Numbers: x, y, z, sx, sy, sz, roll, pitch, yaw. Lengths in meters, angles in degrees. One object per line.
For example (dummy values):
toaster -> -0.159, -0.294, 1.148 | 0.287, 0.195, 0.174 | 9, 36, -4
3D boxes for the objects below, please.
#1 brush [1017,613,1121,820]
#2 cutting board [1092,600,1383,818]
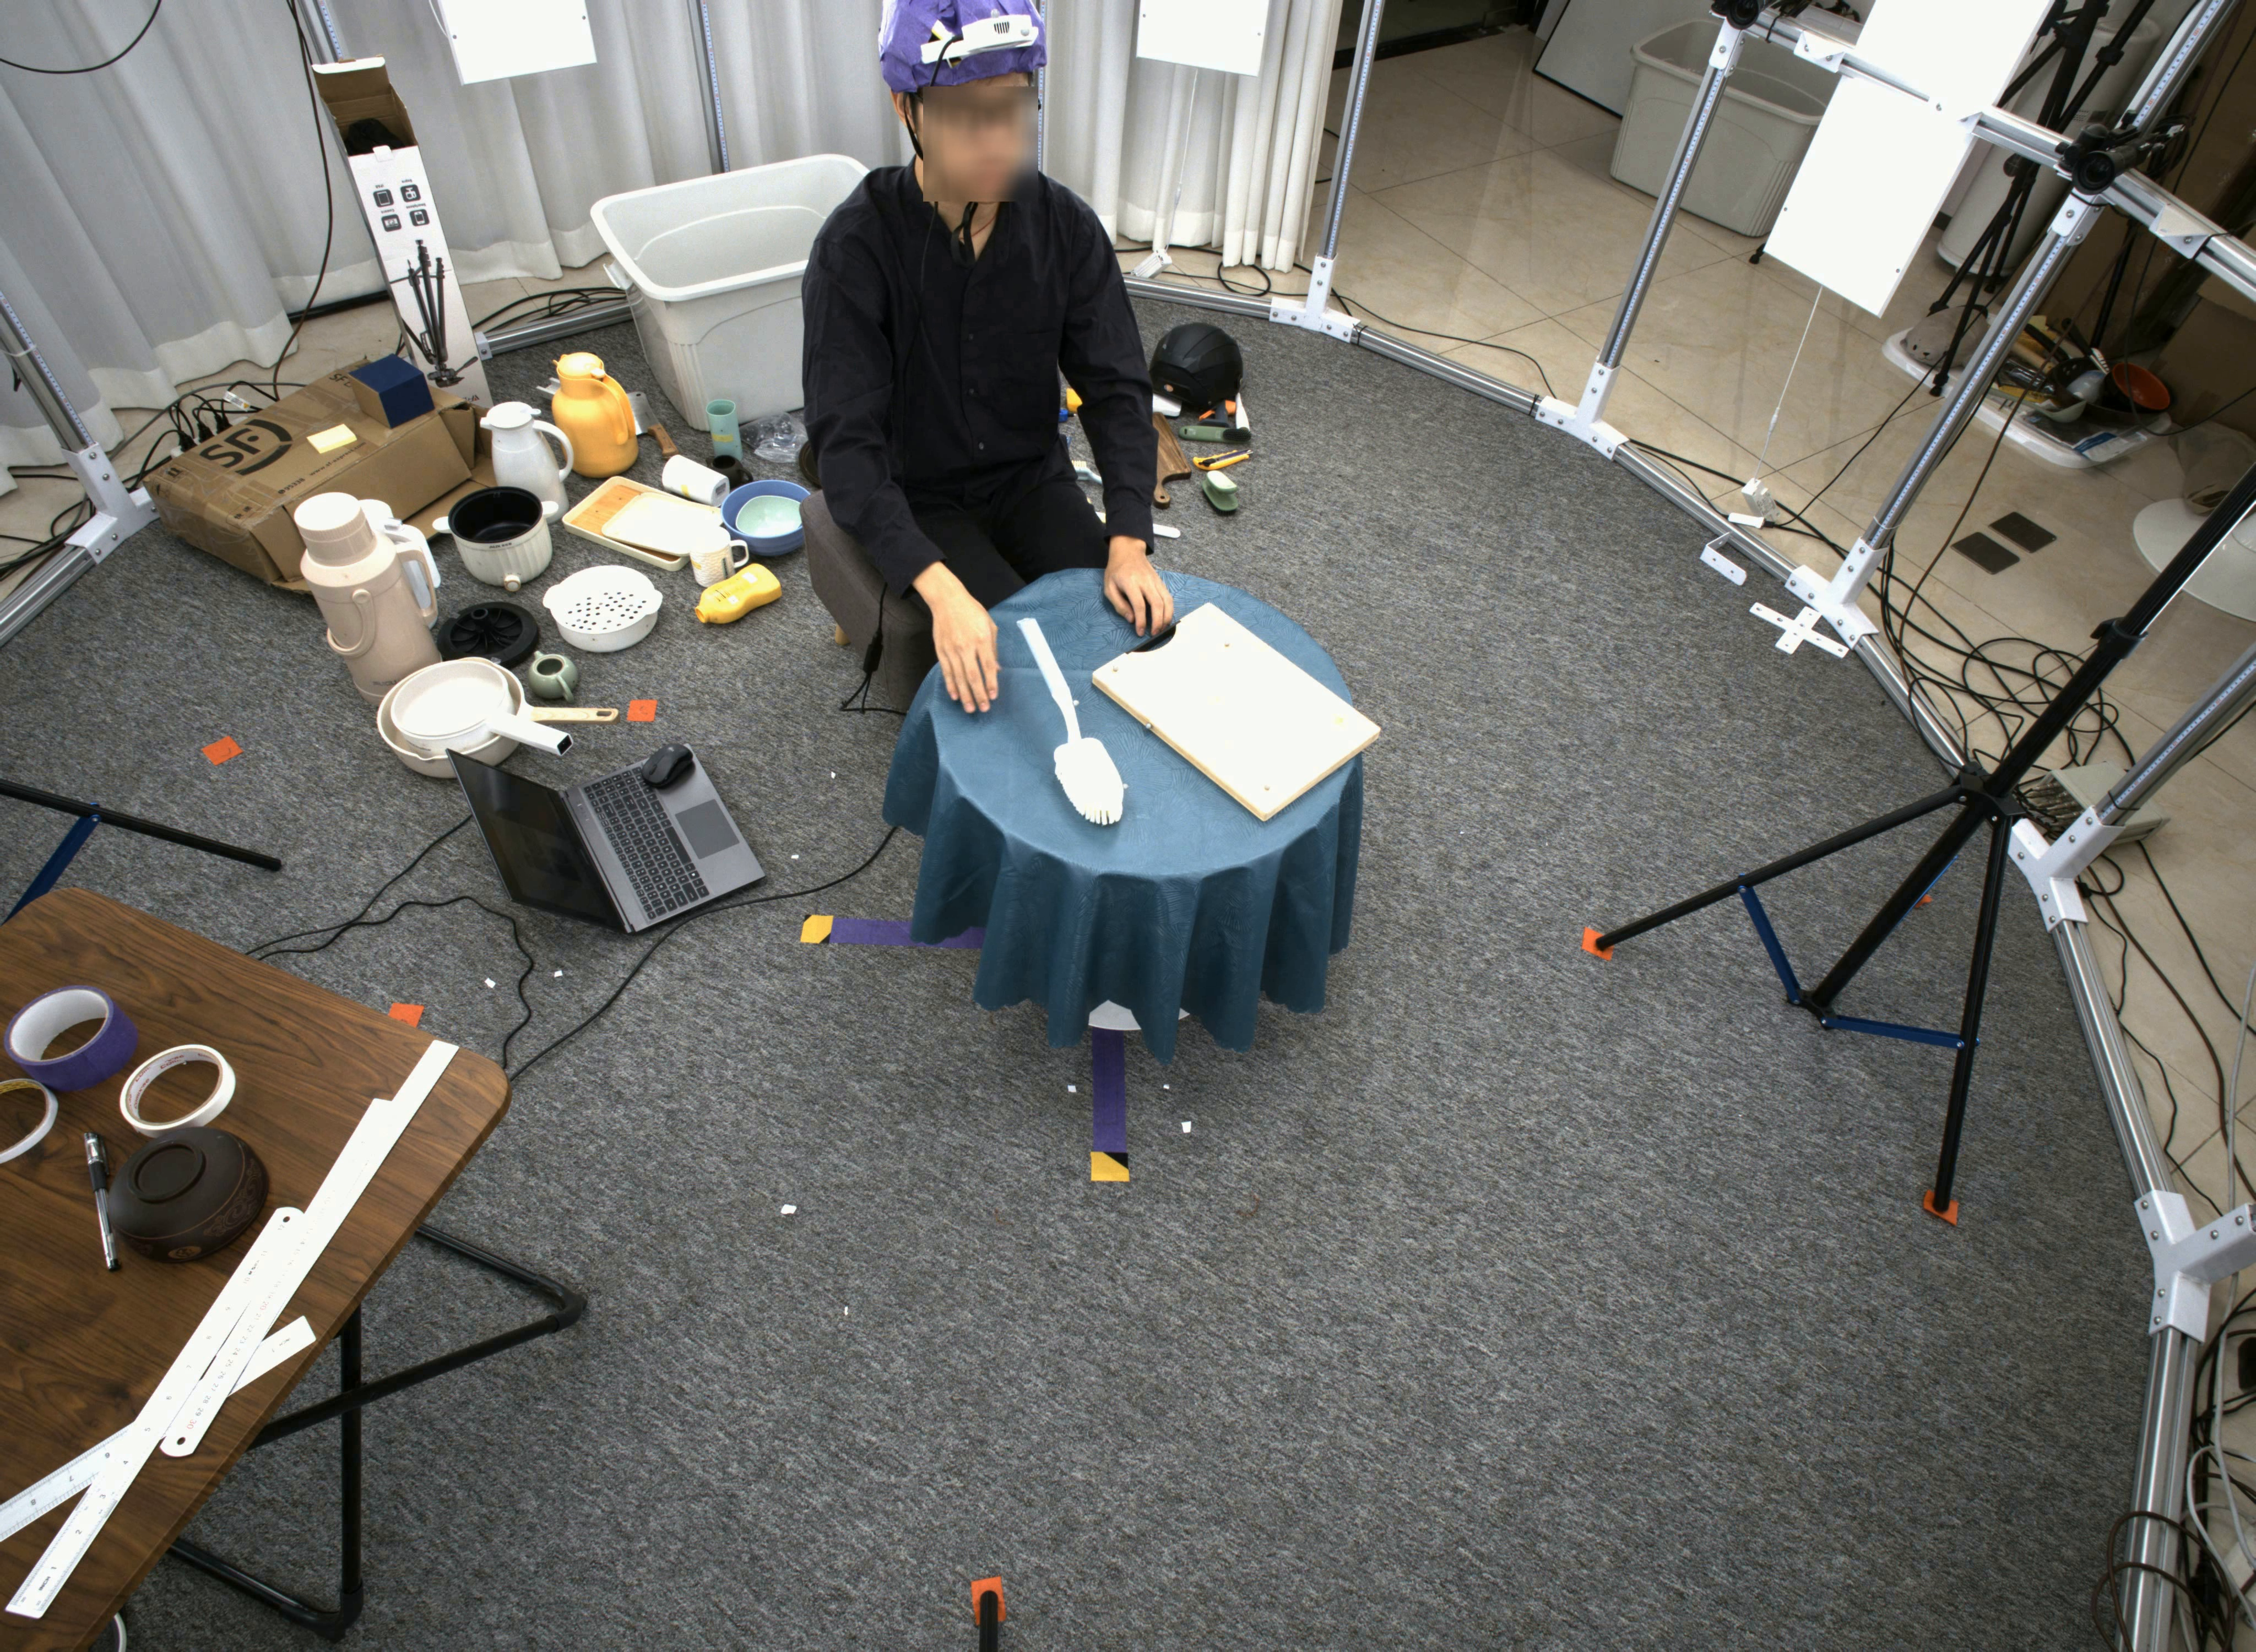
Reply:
brush -> -0.083, -0.146, 1.735 | 0.082, 0.083, 0.331 | 8, 50, -50
cutting board -> 0.152, -0.174, 1.819 | 0.253, 0.023, 0.354 | -35, 61, -30
